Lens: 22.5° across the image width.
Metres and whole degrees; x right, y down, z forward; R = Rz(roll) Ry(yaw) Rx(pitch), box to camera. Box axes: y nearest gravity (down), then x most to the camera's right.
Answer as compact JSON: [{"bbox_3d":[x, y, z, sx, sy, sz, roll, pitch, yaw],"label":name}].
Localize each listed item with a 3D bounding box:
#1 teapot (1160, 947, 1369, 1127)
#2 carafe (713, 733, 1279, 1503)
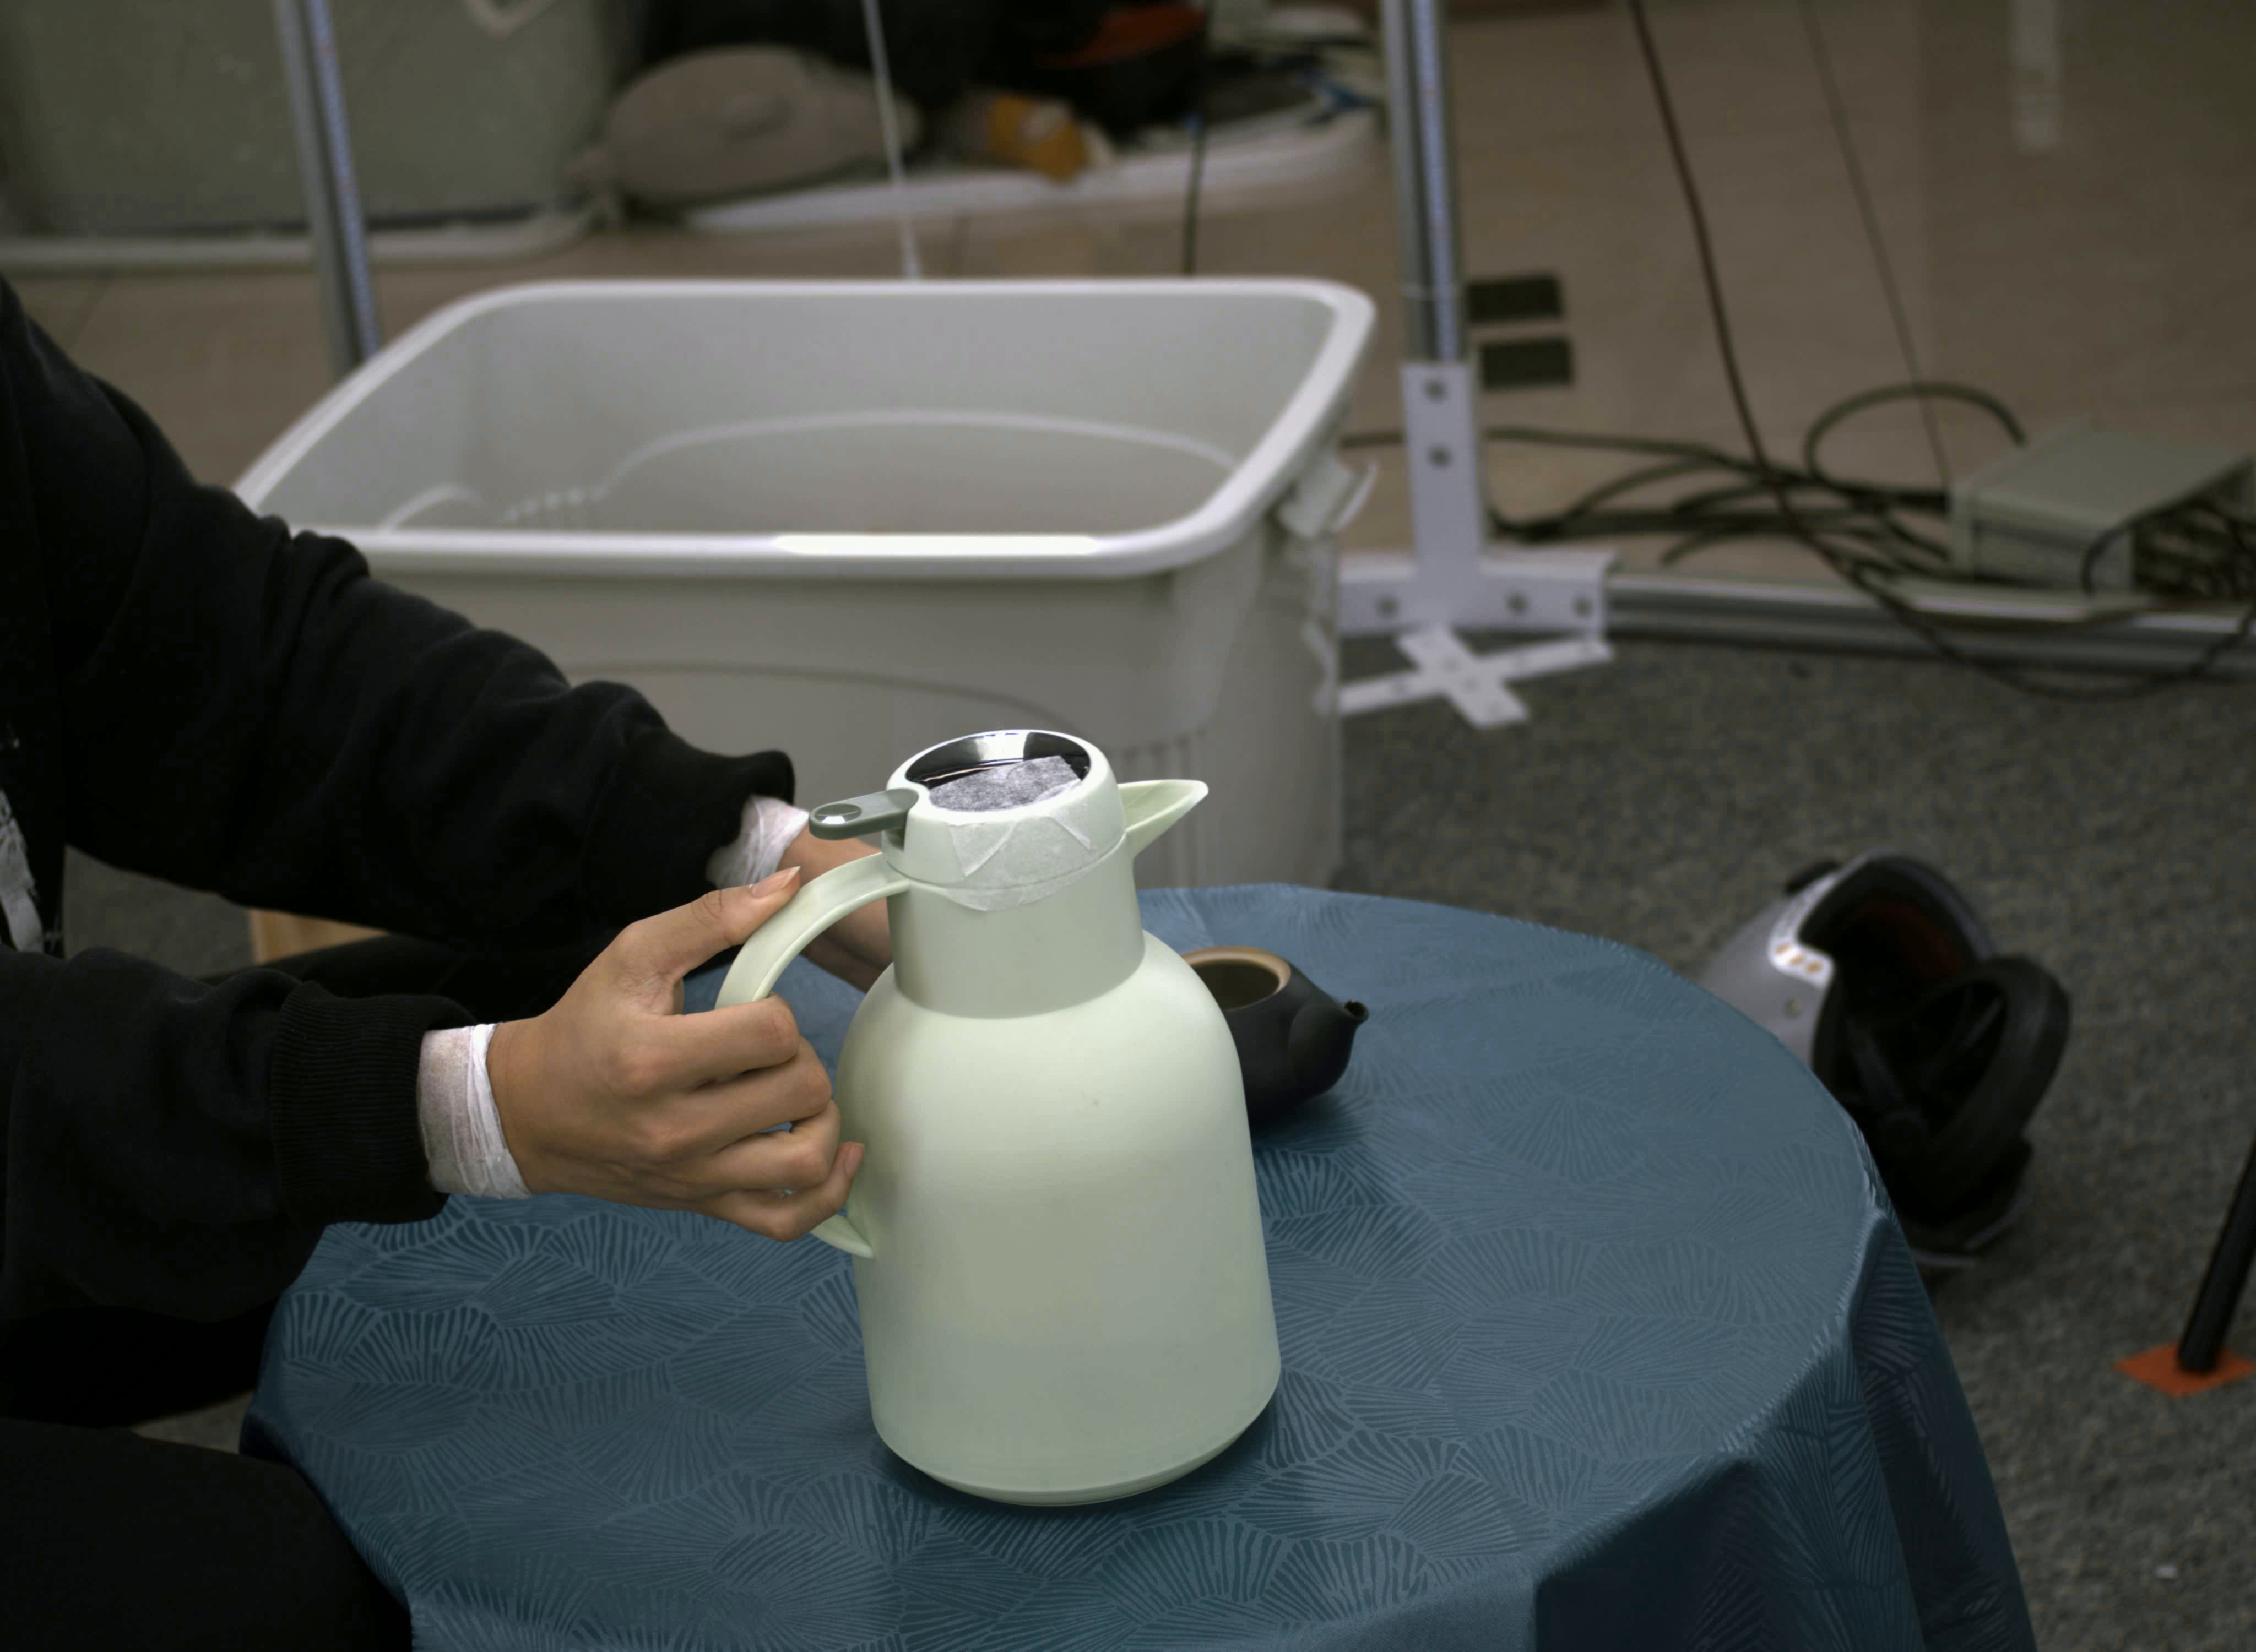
[{"bbox_3d":[0.036,0.082,2.198,0.132,0.054,0.090,11,29,30],"label":"teapot"},{"bbox_3d":[-0.044,0.099,1.945,0.186,0.261,0.142,-19,30,-16],"label":"carafe"}]
